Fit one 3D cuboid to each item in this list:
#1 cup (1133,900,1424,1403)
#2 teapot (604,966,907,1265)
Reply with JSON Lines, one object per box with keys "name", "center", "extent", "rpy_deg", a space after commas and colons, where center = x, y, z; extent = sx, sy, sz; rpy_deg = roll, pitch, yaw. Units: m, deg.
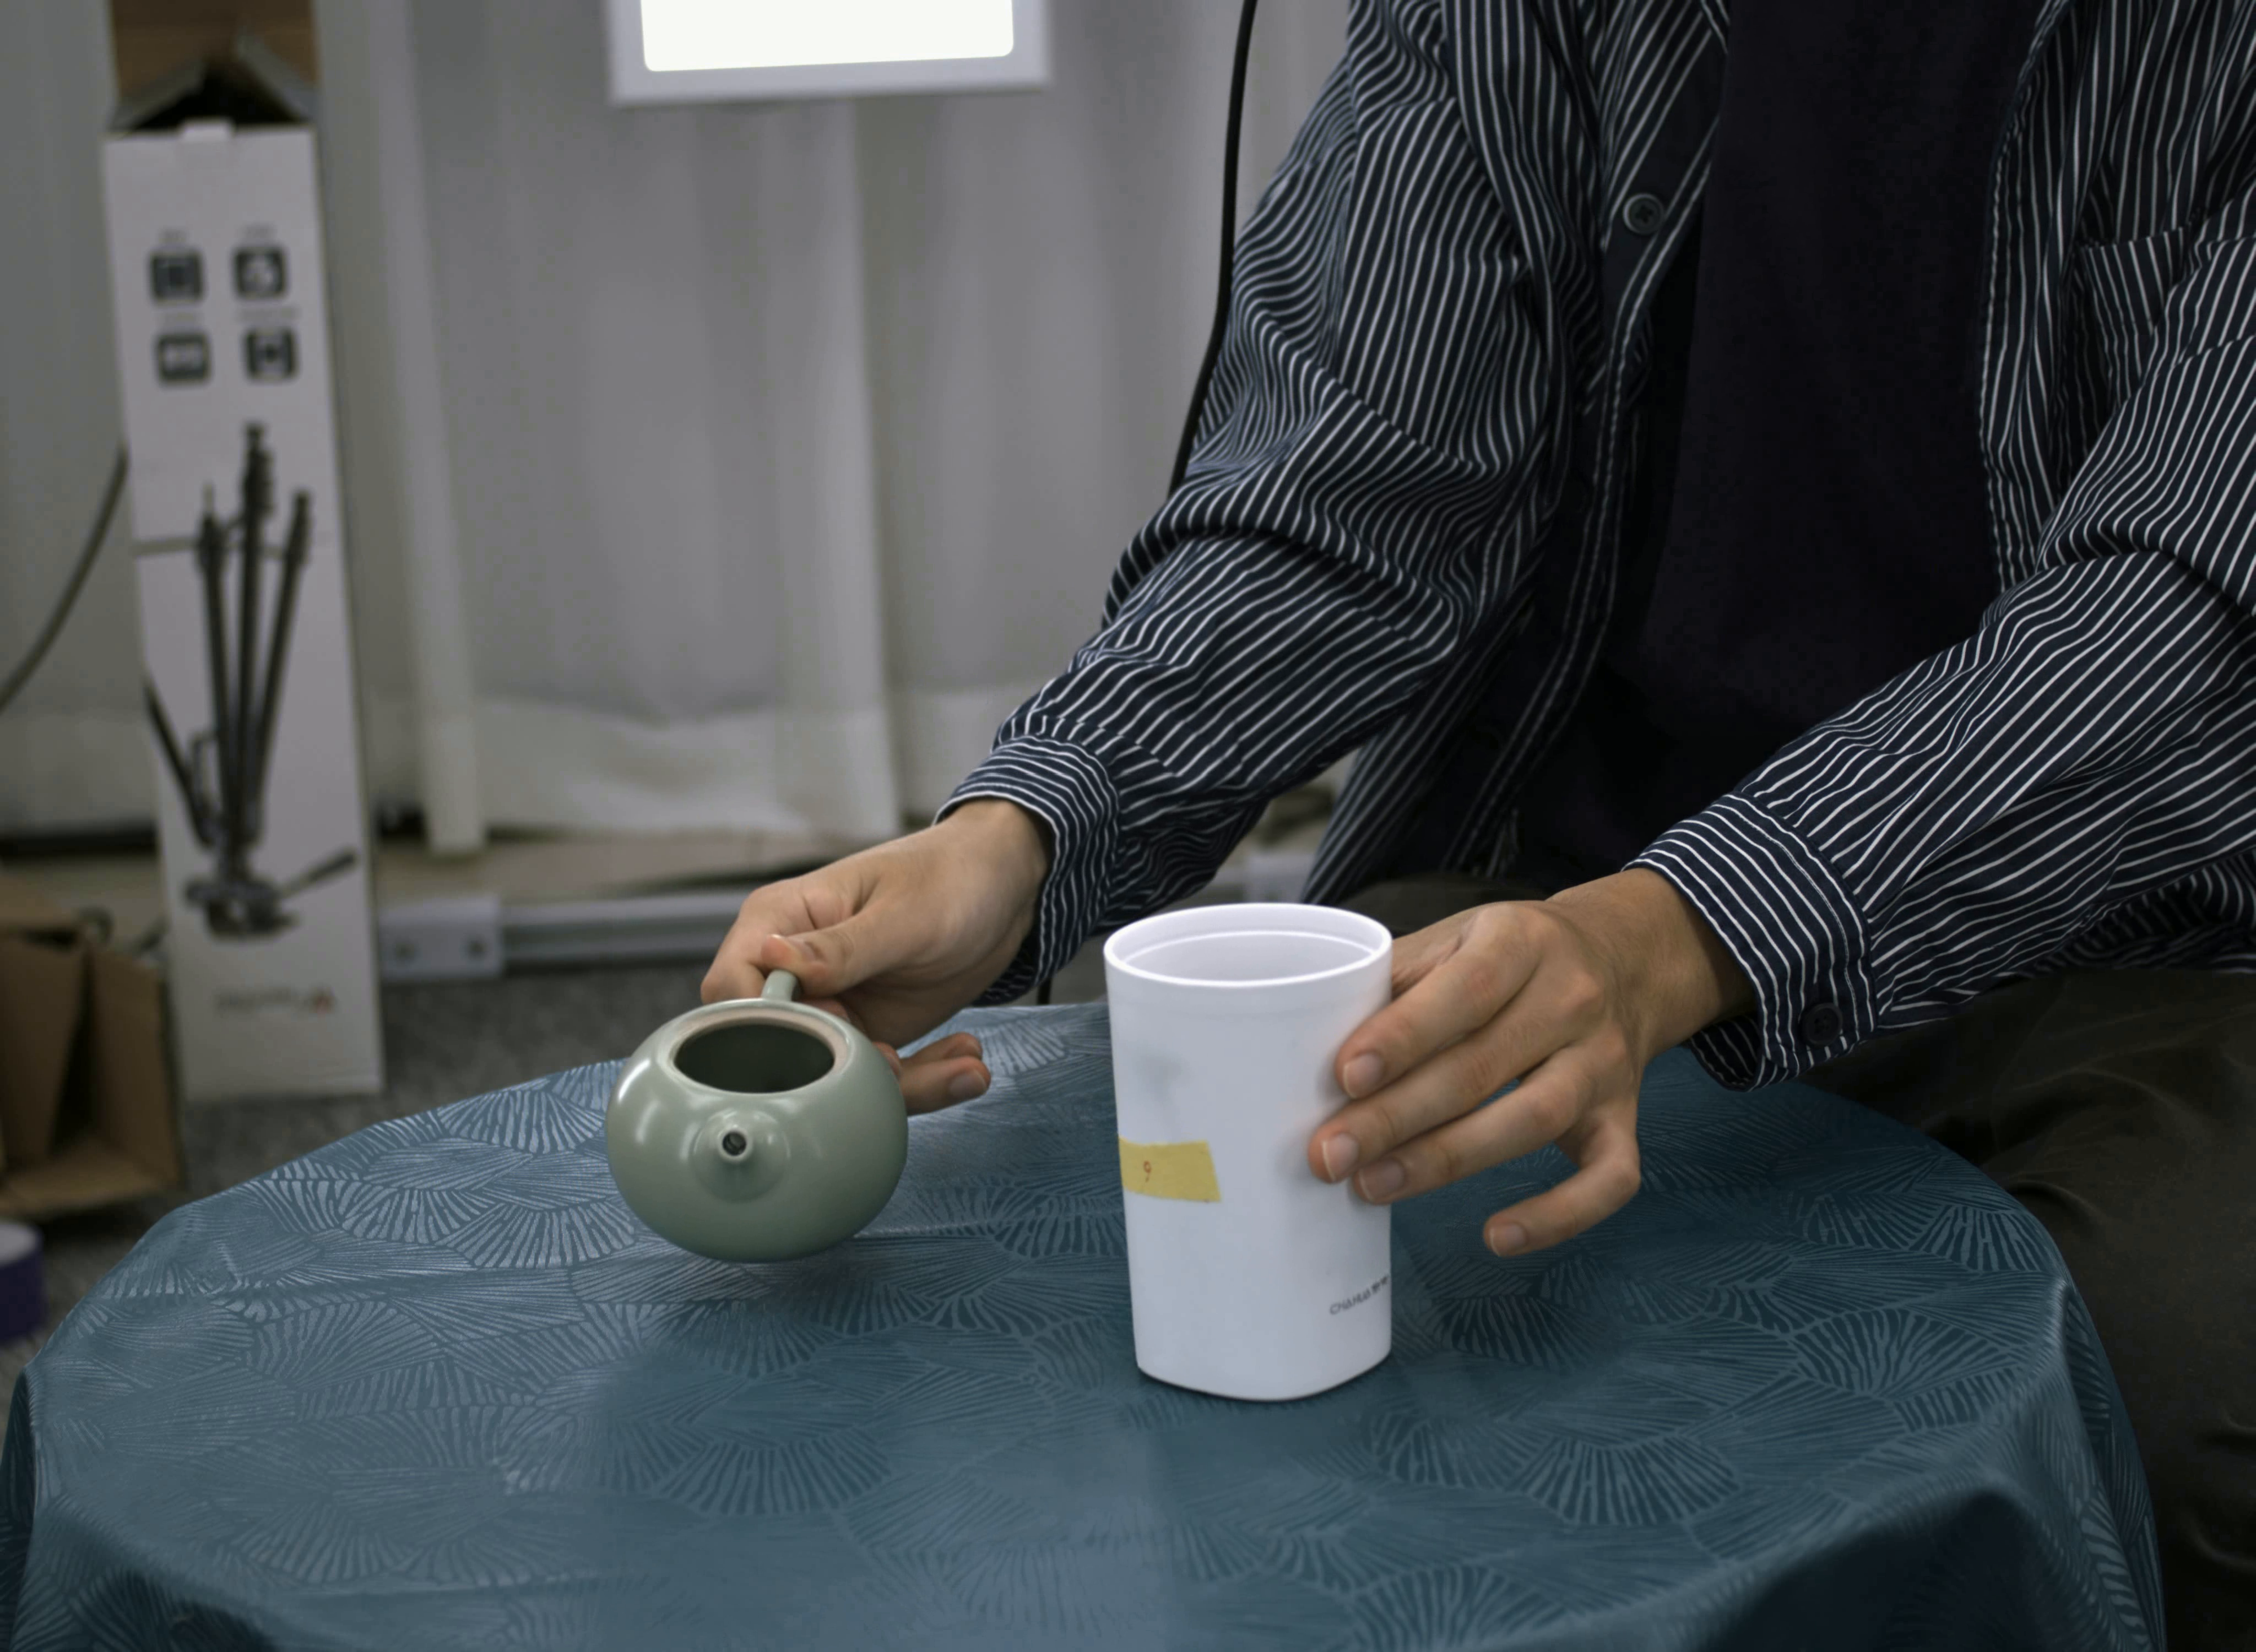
{"name": "cup", "center": [0.045, 0.092, 1.540], "extent": [0.081, 0.125, 0.082], "rpy_deg": [-3, 14, 0]}
{"name": "teapot", "center": [-0.111, 0.089, 1.657], "extent": [0.091, 0.060, 0.130], "rpy_deg": [3, 27, 9]}
